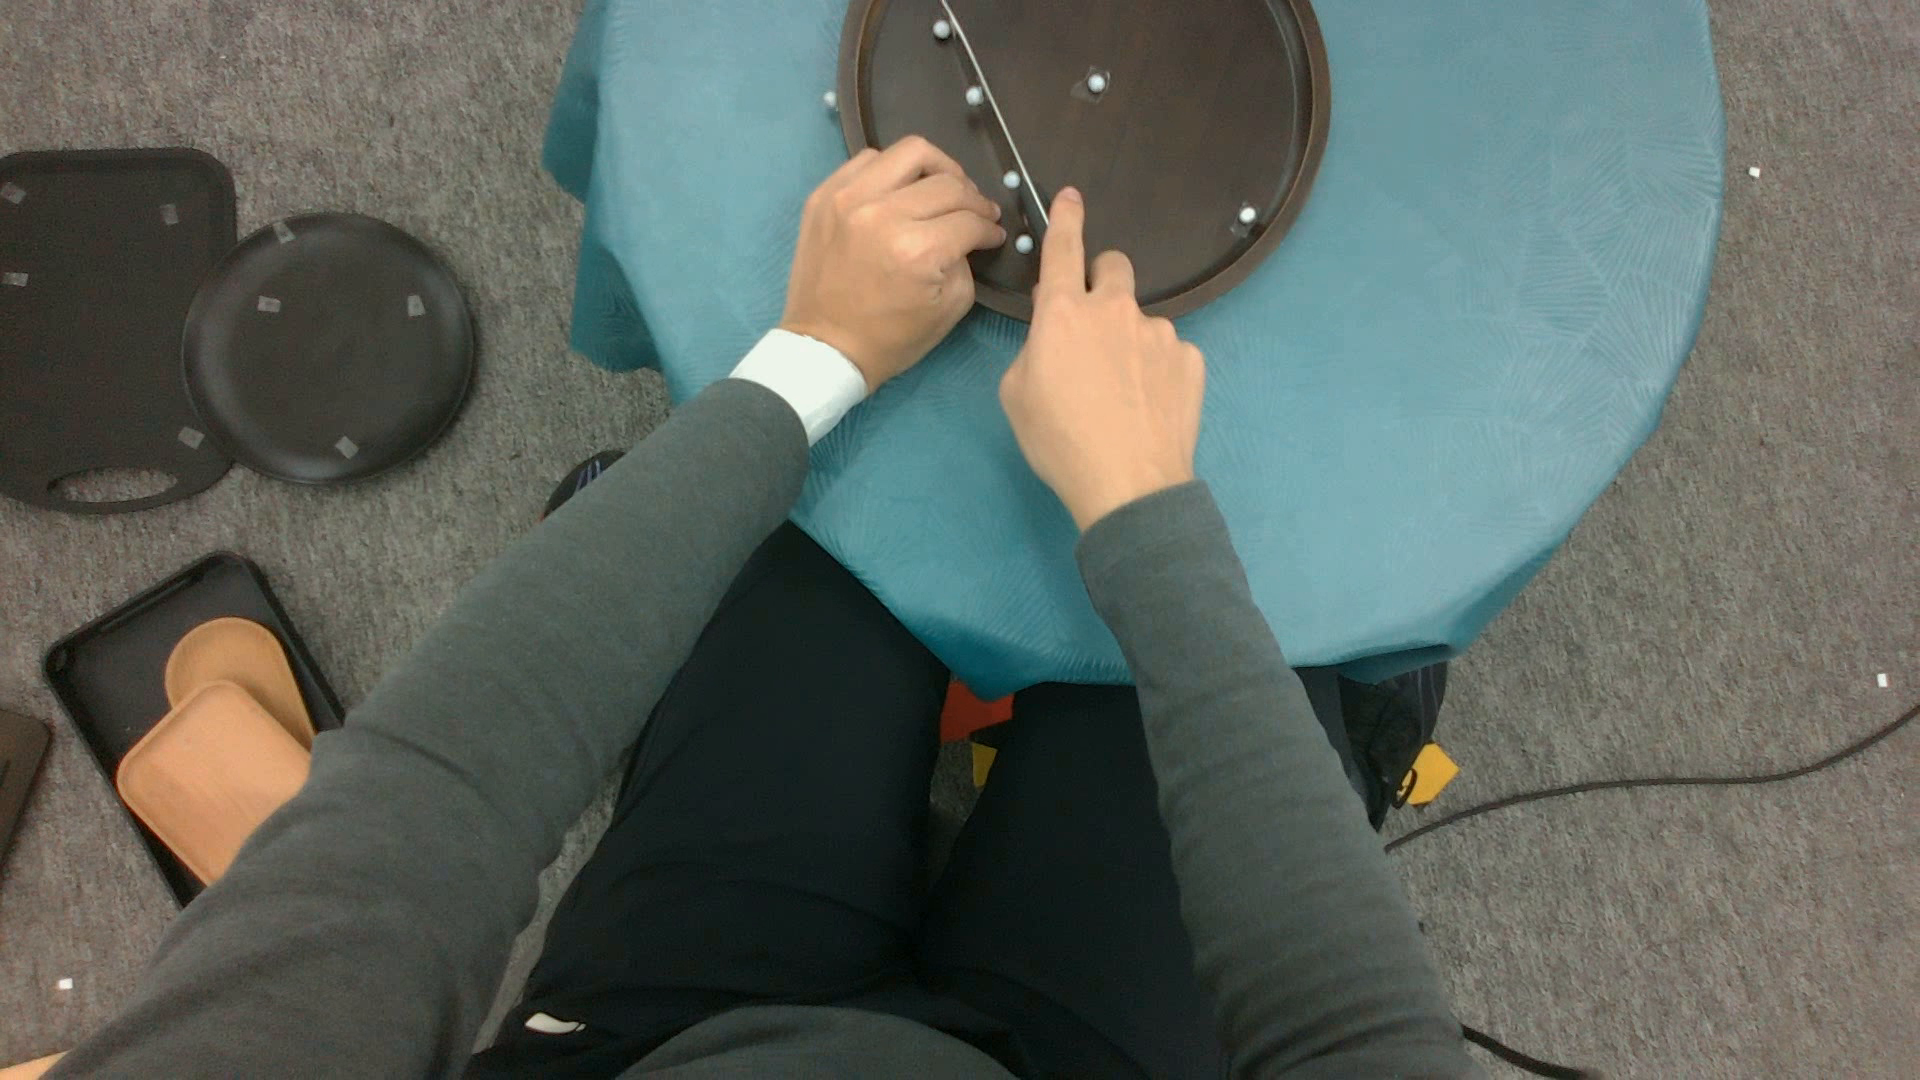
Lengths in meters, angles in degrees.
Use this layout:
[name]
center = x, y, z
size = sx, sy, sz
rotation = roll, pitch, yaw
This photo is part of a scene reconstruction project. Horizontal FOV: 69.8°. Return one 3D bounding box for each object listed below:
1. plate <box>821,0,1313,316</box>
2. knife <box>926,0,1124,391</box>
[plate]
center = 0.056, -0.237, 0.707
size = 0.255, 0.029, 0.255
rotation = 1, 82, -5
[knife]
center = 0.026, -0.178, 0.671
size = 0.016, 0.024, 0.238
rotation = -23, 74, -2
